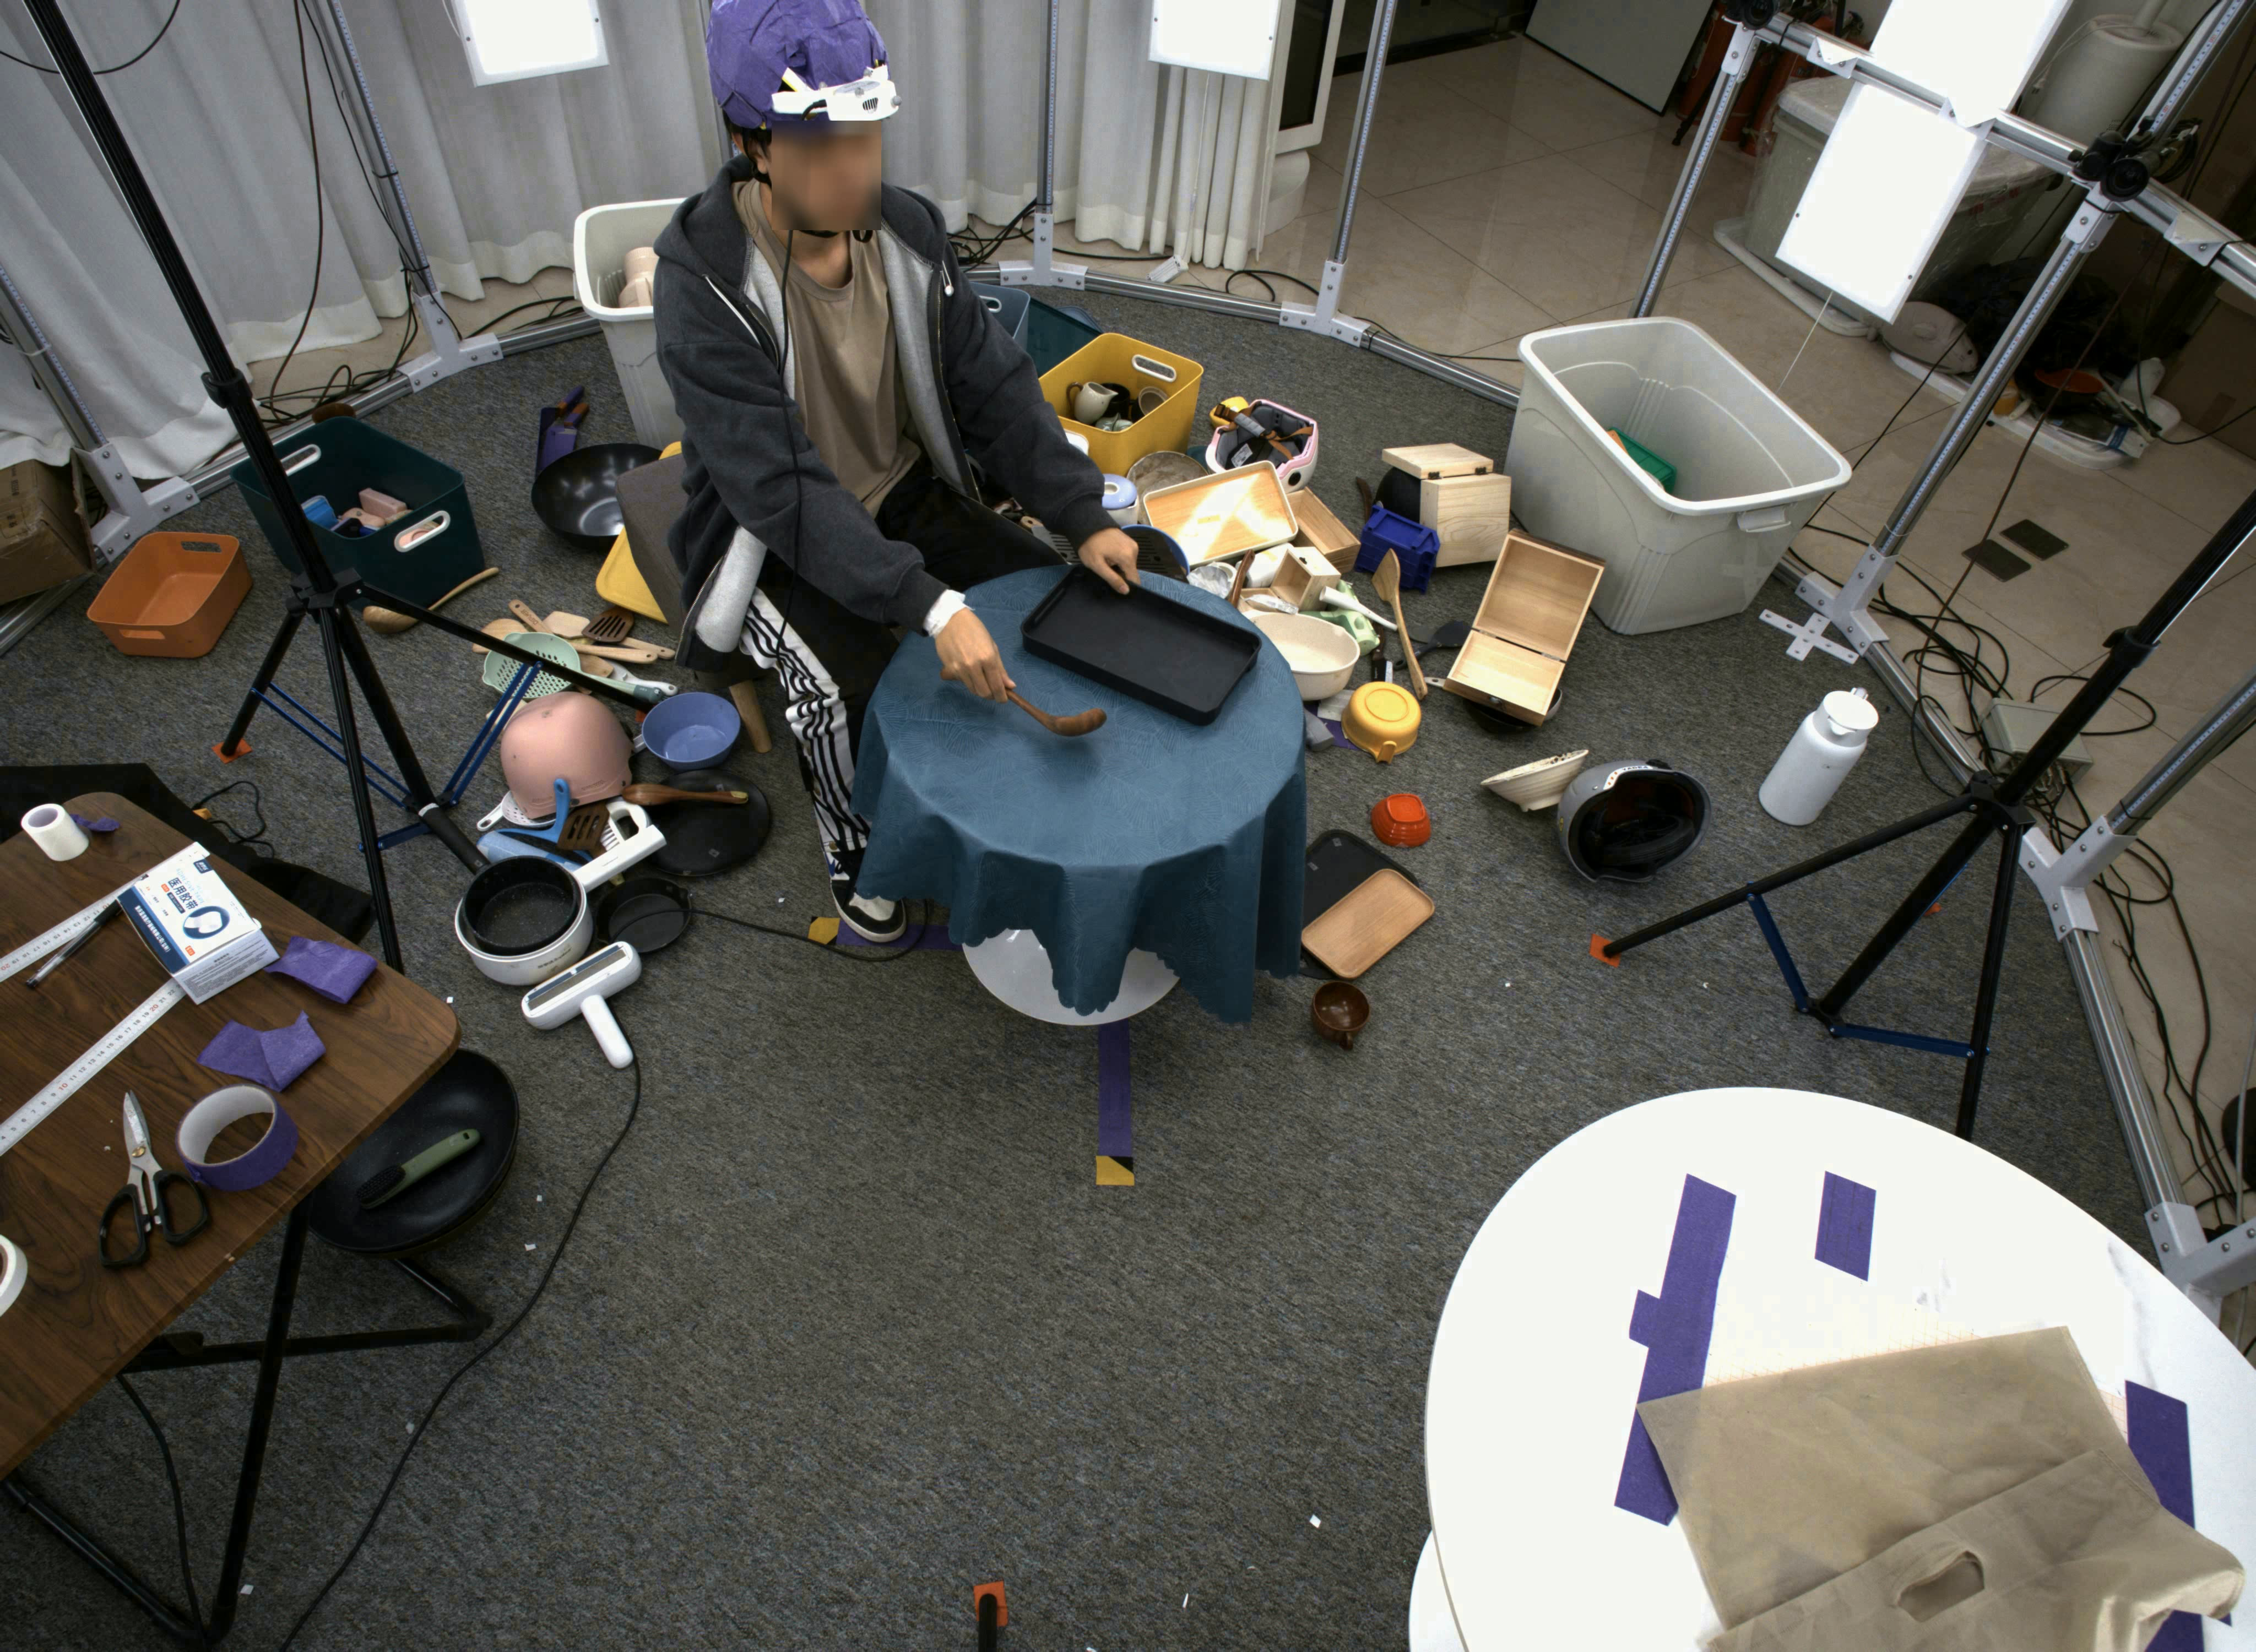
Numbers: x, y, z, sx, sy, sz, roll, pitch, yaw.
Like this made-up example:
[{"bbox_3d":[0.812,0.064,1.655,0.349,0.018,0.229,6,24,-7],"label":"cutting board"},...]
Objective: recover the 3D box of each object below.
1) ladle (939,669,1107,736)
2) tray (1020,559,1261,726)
[{"bbox_3d":[-0.147,-0.184,1.754,0.263,0.064,0.077,27,23,21],"label":"ladle"},{"bbox_3d":[0.018,-0.271,1.872,0.320,0.036,0.187,26,54,15],"label":"tray"}]
